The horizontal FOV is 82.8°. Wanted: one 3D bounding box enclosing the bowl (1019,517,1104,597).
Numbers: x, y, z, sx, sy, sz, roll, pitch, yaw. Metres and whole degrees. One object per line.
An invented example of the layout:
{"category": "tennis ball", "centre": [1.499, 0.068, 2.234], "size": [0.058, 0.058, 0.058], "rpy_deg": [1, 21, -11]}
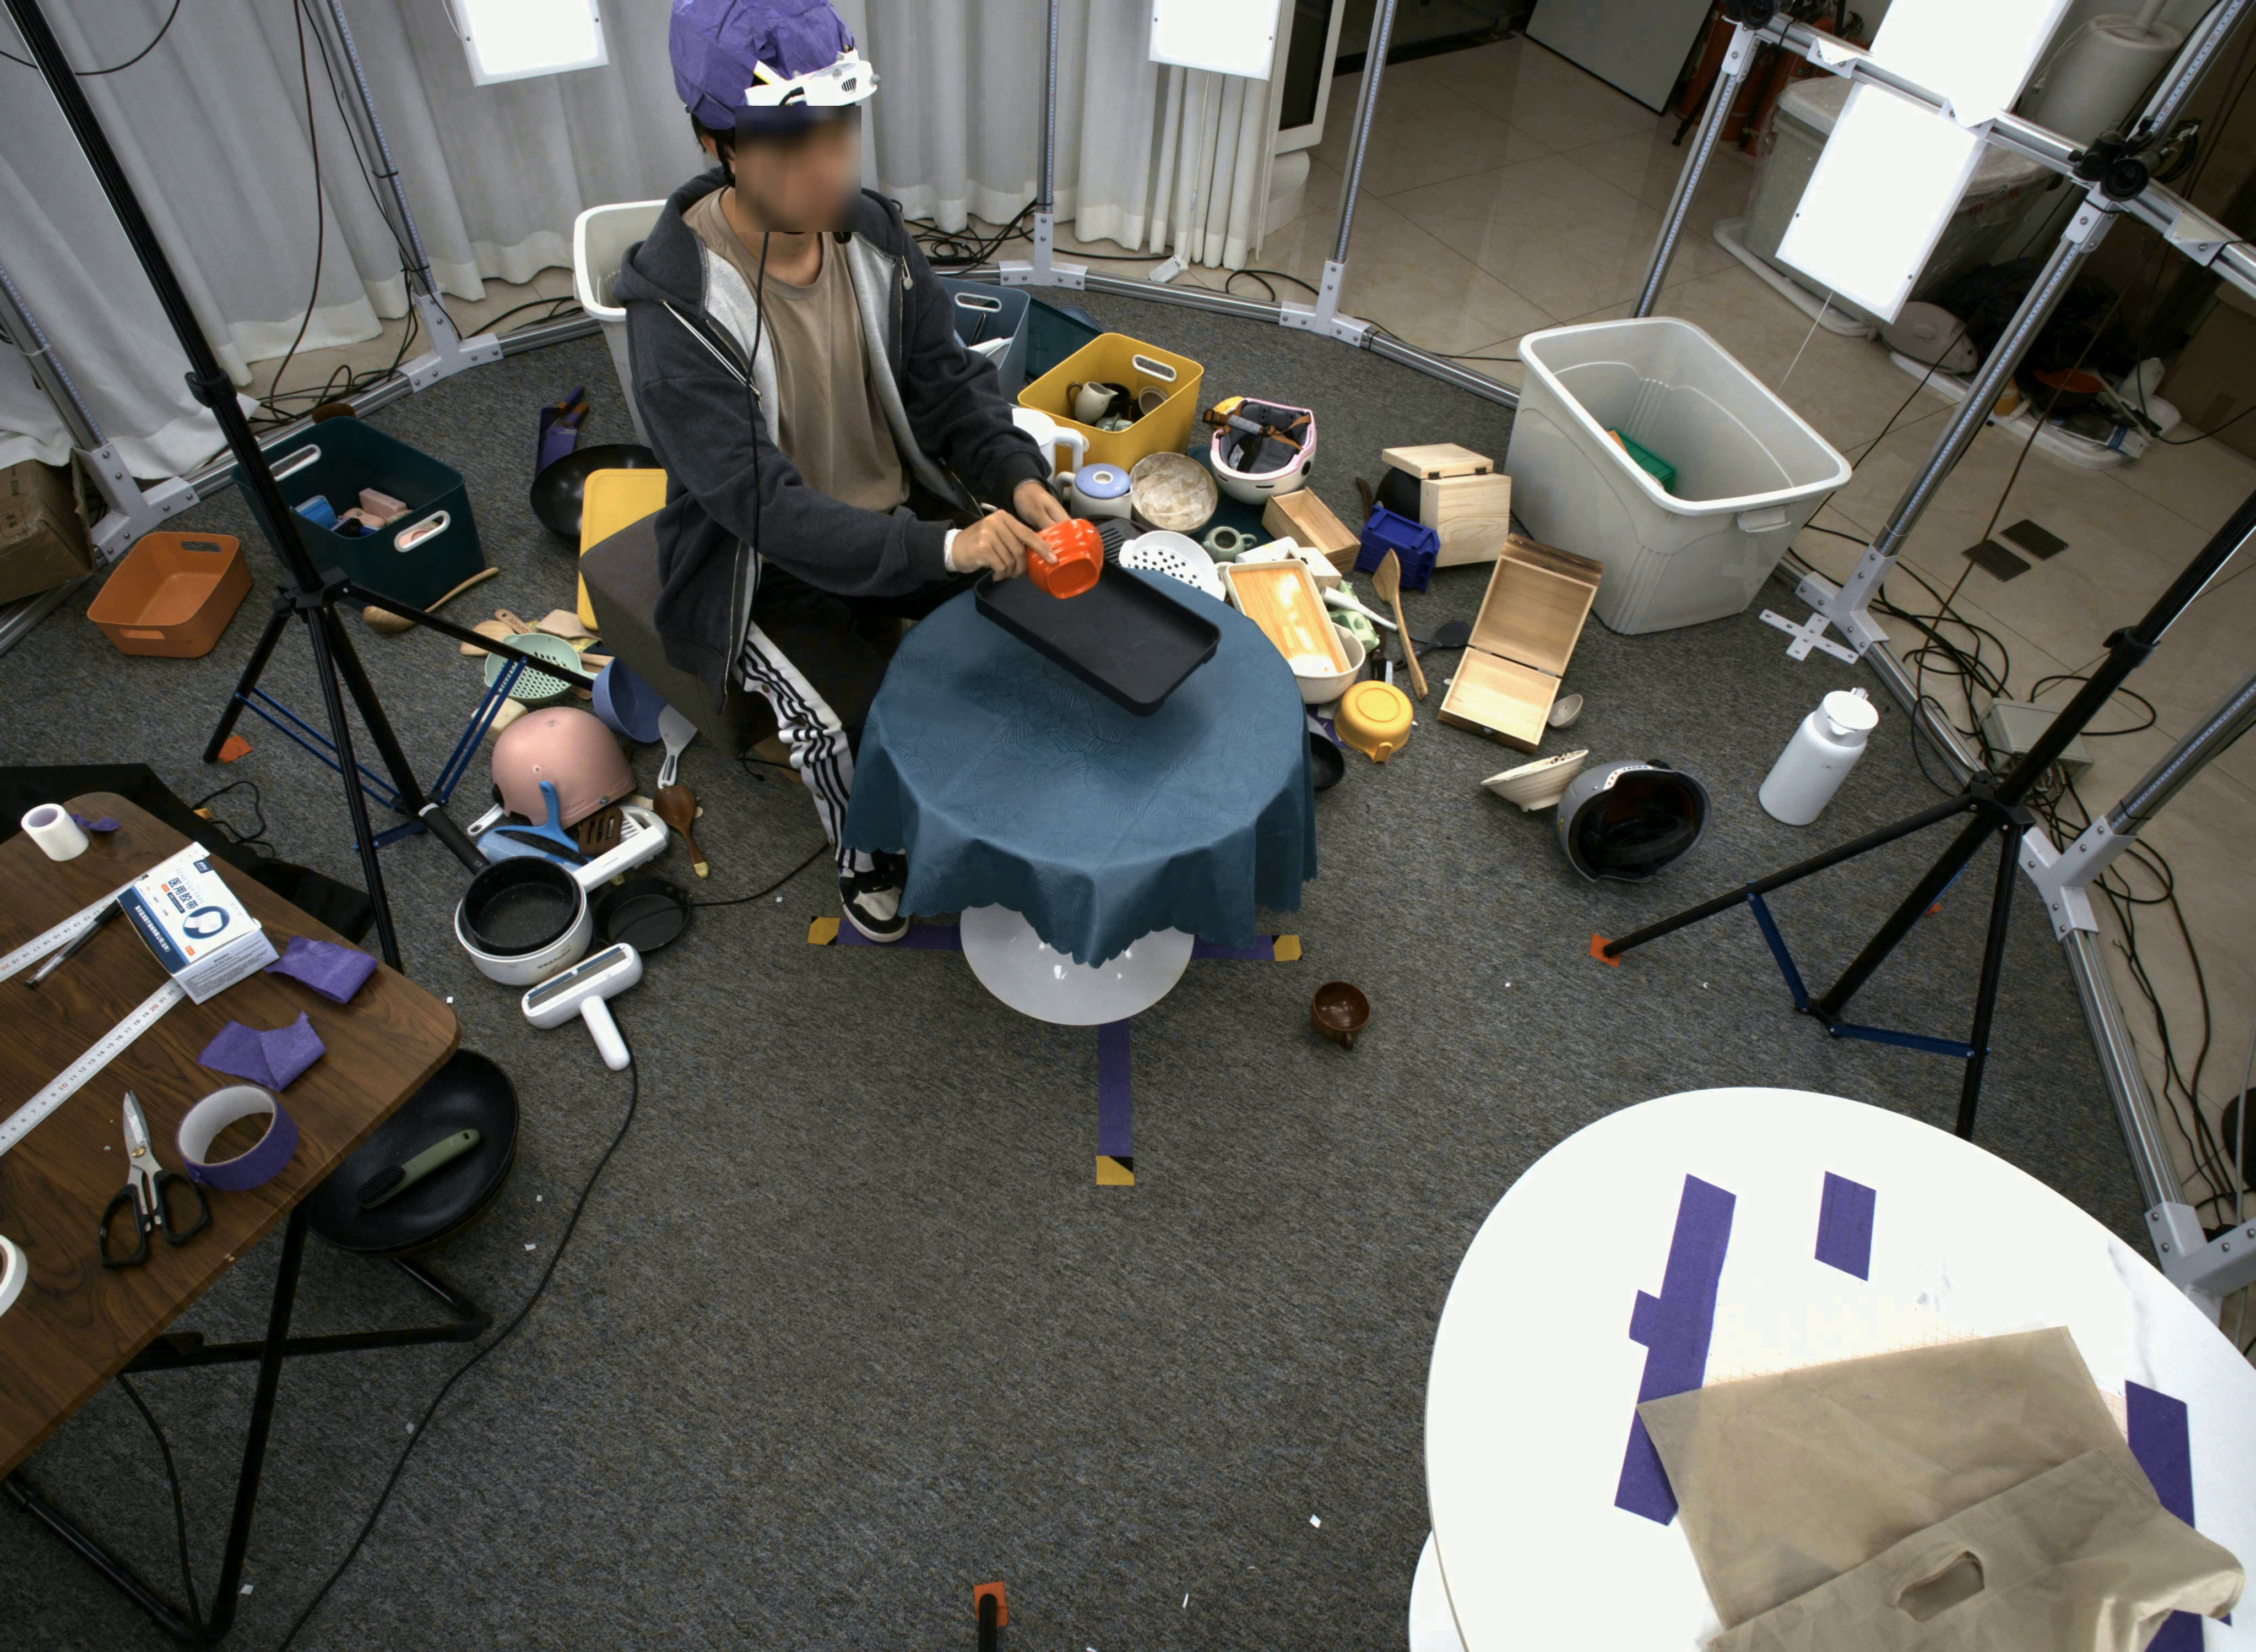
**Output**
{"category": "bowl", "centre": [-0.080, -0.341, 1.672], "size": [0.119, 0.116, 0.052], "rpy_deg": [-12, 60, -15]}

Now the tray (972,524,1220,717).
{"category": "tray", "centre": [-0.045, -0.289, 1.781], "size": [0.321, 0.036, 0.186], "rpy_deg": [35, 58, 17]}
